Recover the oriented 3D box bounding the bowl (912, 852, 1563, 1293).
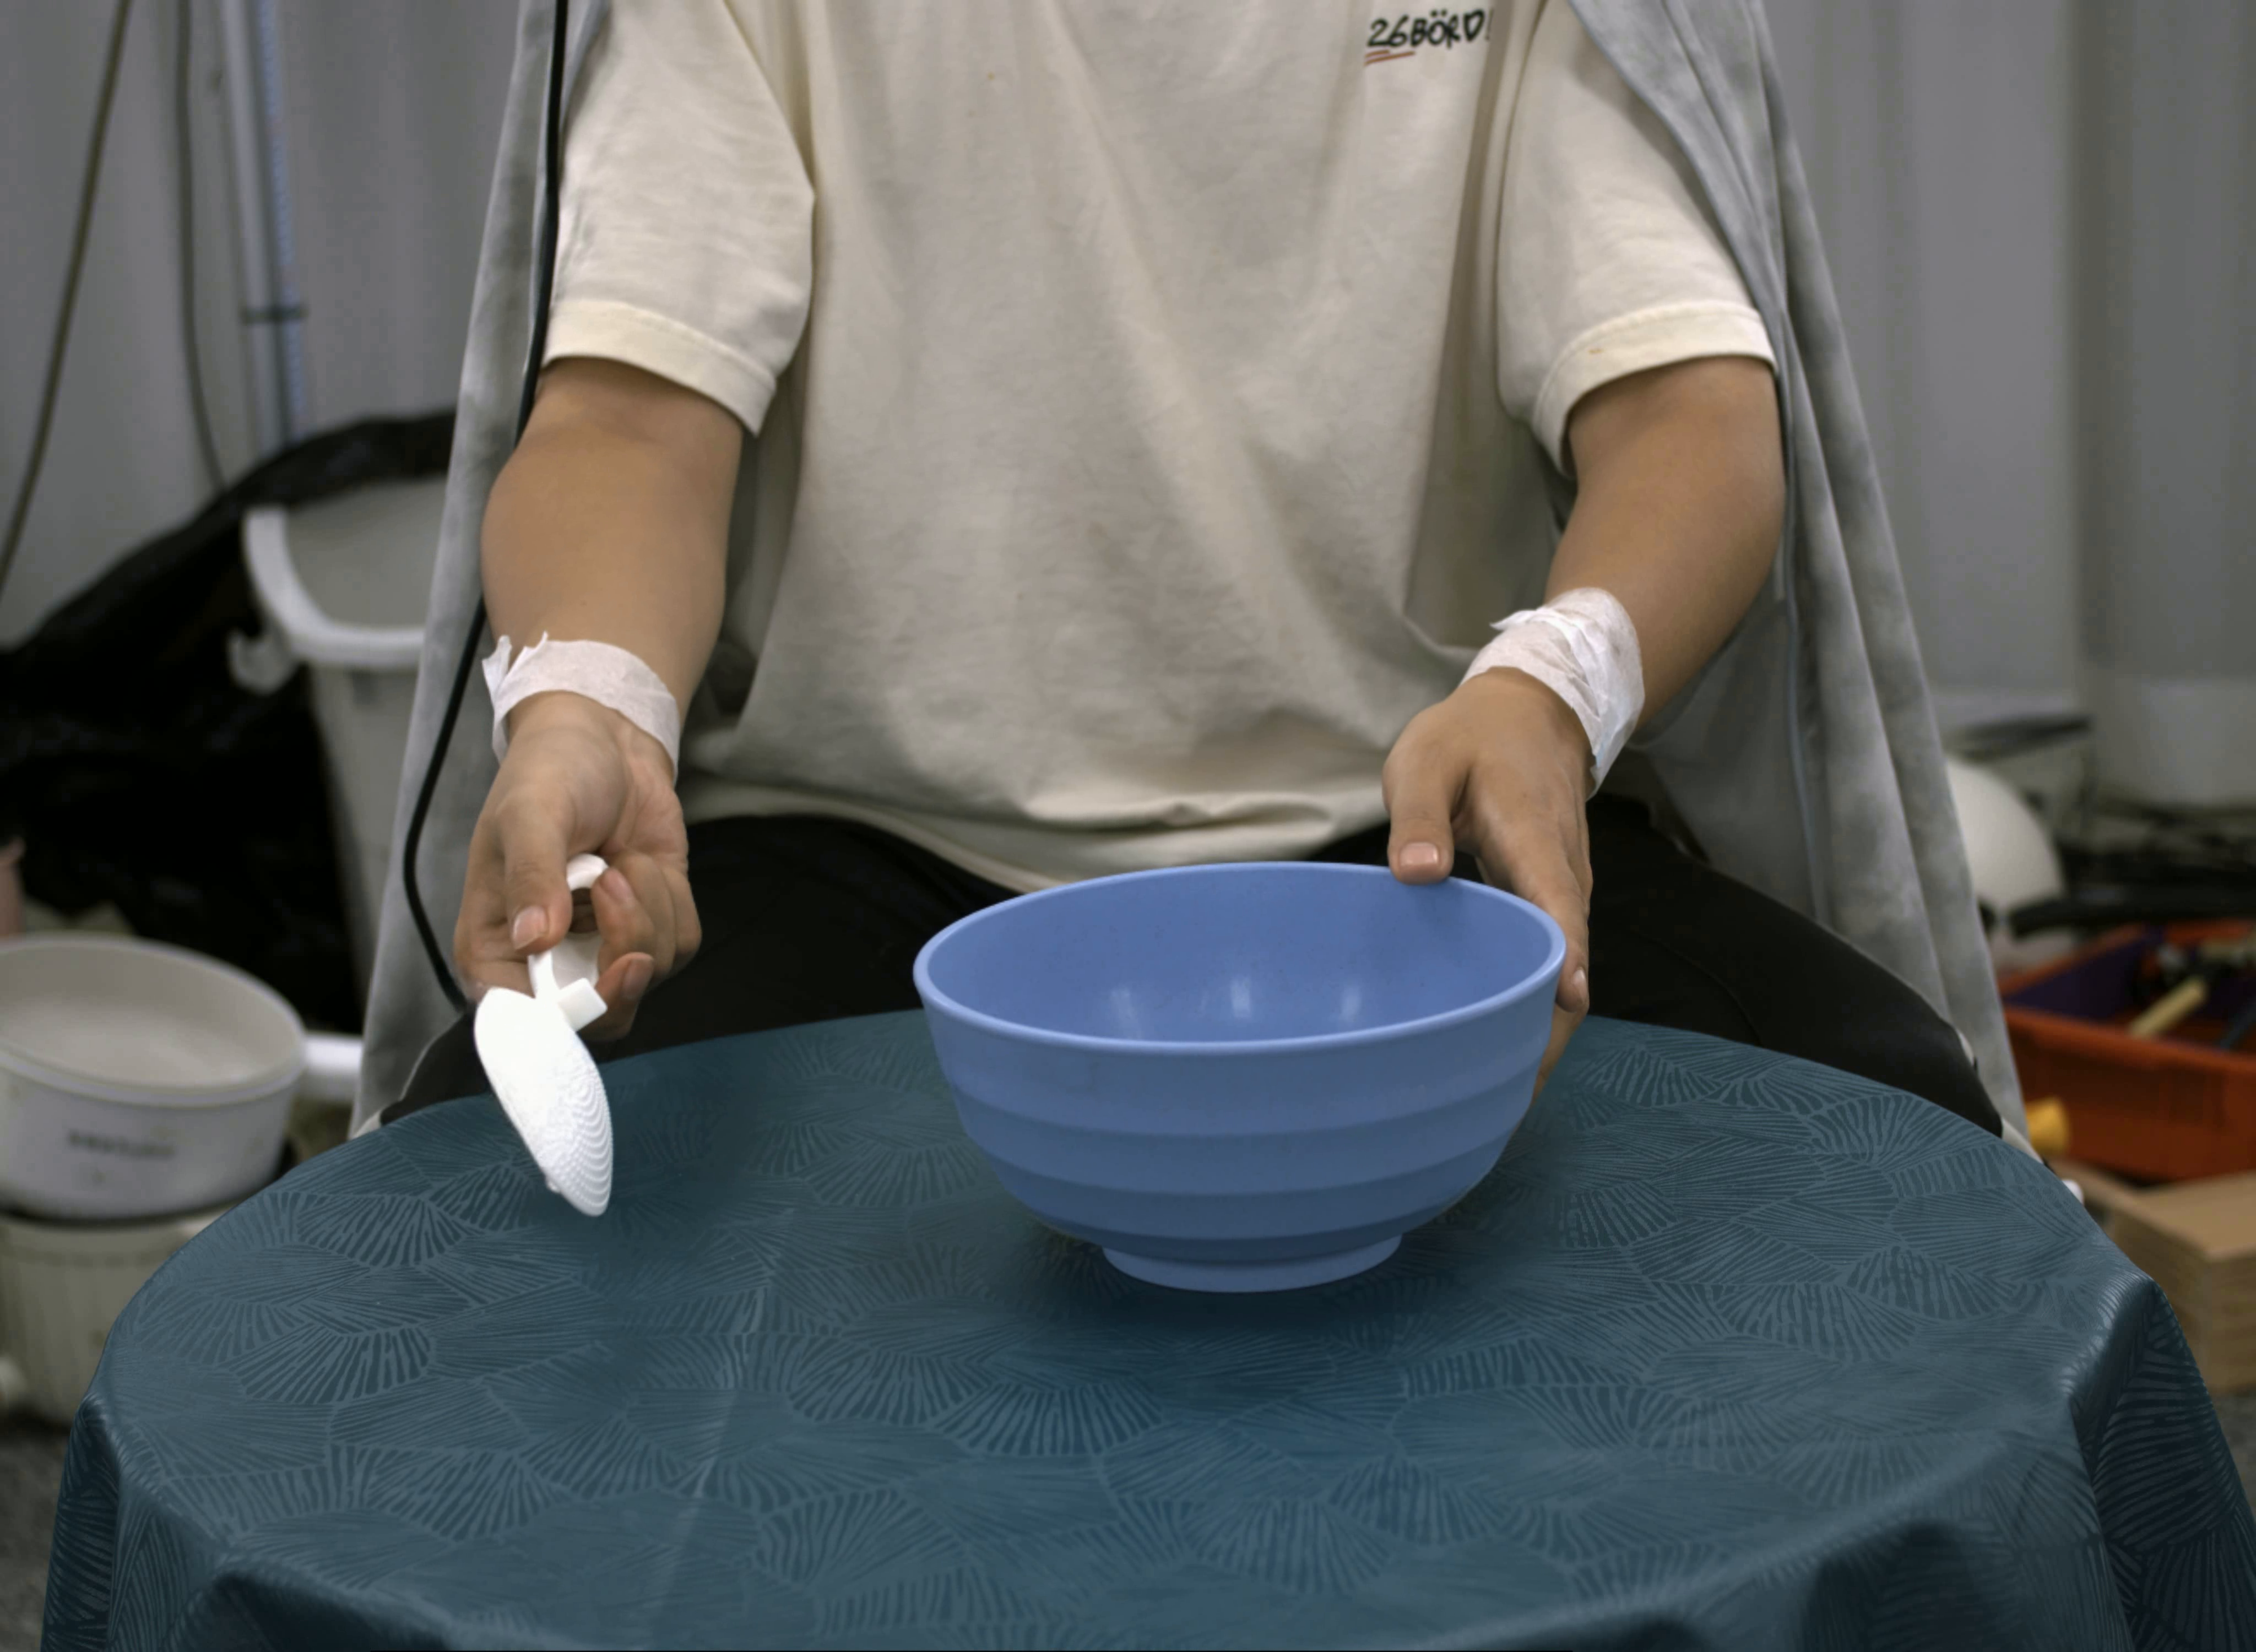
[{"bbox_3d":[0.035,0.080,1.654,0.196,0.095,0.198,-4,16,1],"label":"bowl"}]

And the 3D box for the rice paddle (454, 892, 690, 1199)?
[{"bbox_3d":[-0.169,0.060,1.637,0.029,0.068,0.206,-19,10,13],"label":"rice paddle"}]
